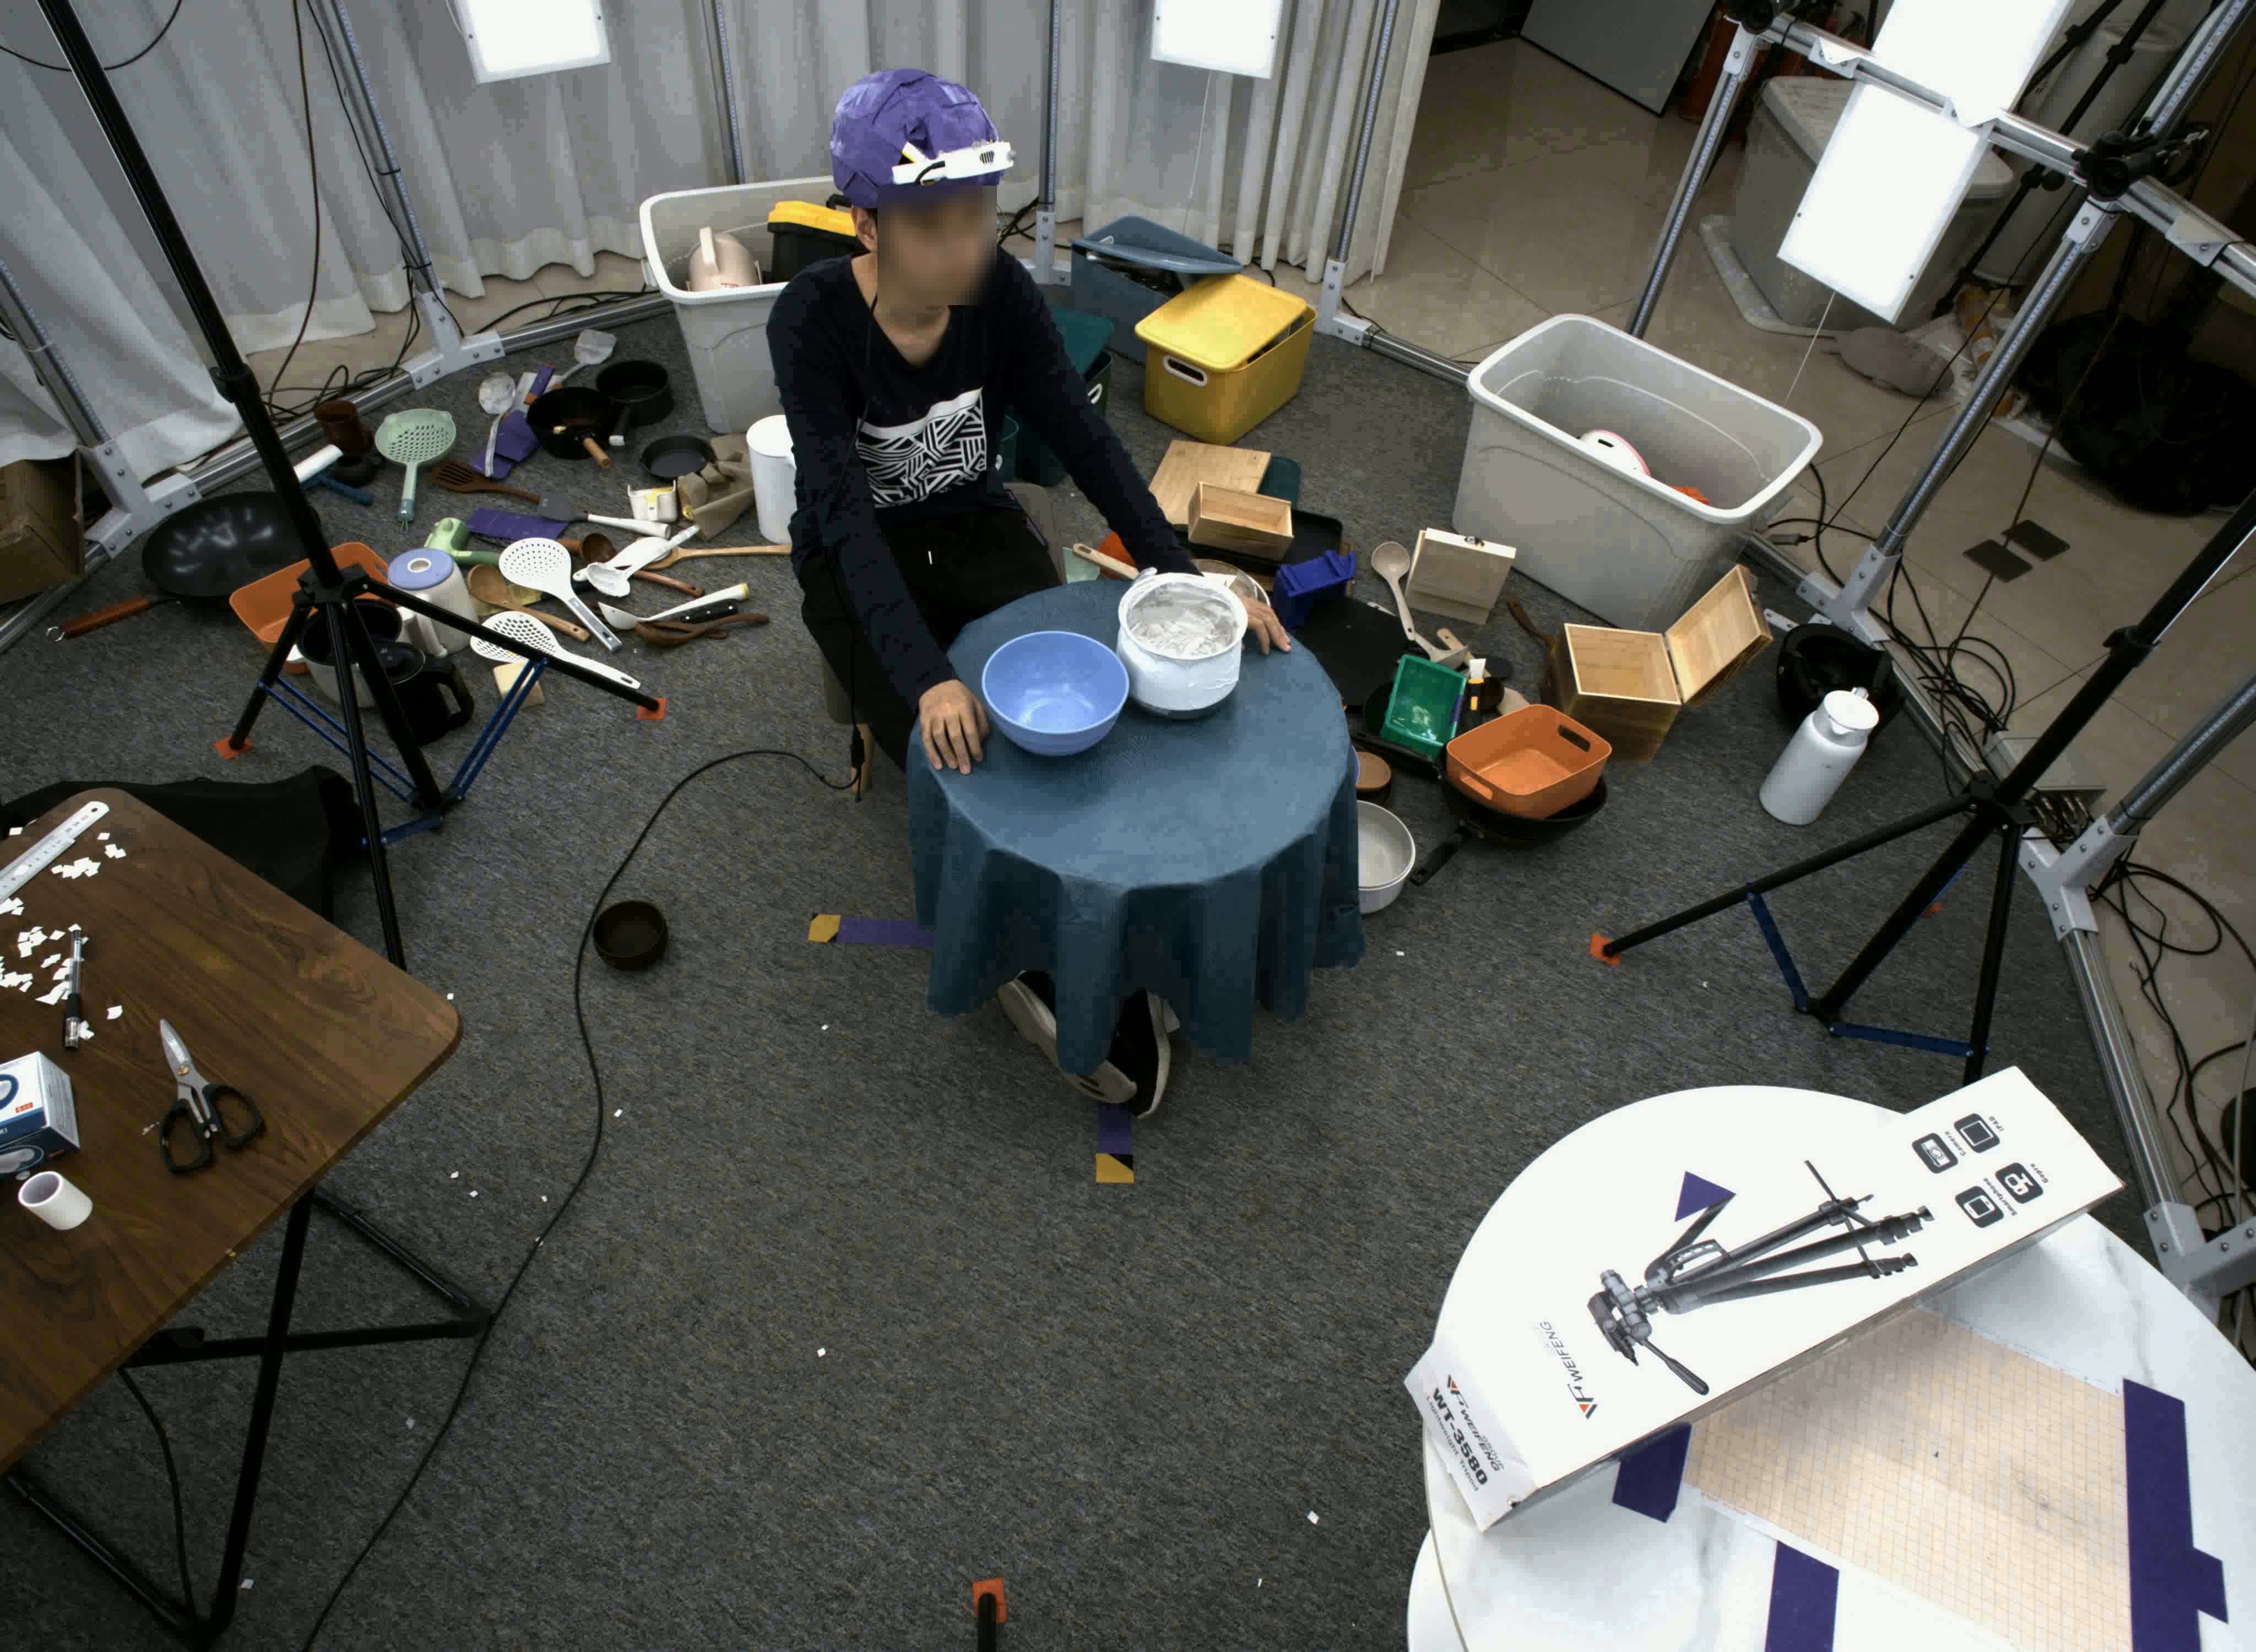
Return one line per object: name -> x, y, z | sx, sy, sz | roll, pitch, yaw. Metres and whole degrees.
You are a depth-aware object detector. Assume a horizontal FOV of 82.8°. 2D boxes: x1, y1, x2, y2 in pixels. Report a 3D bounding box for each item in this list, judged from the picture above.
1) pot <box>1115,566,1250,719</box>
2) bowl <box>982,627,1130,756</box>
pot -> 0.059, -0.269, 1.815 | 0.179, 0.133, 0.239 | -17, 53, -21
bowl -> -0.098, -0.168, 1.739 | 0.196, 0.093, 0.201 | 2, 53, -3
